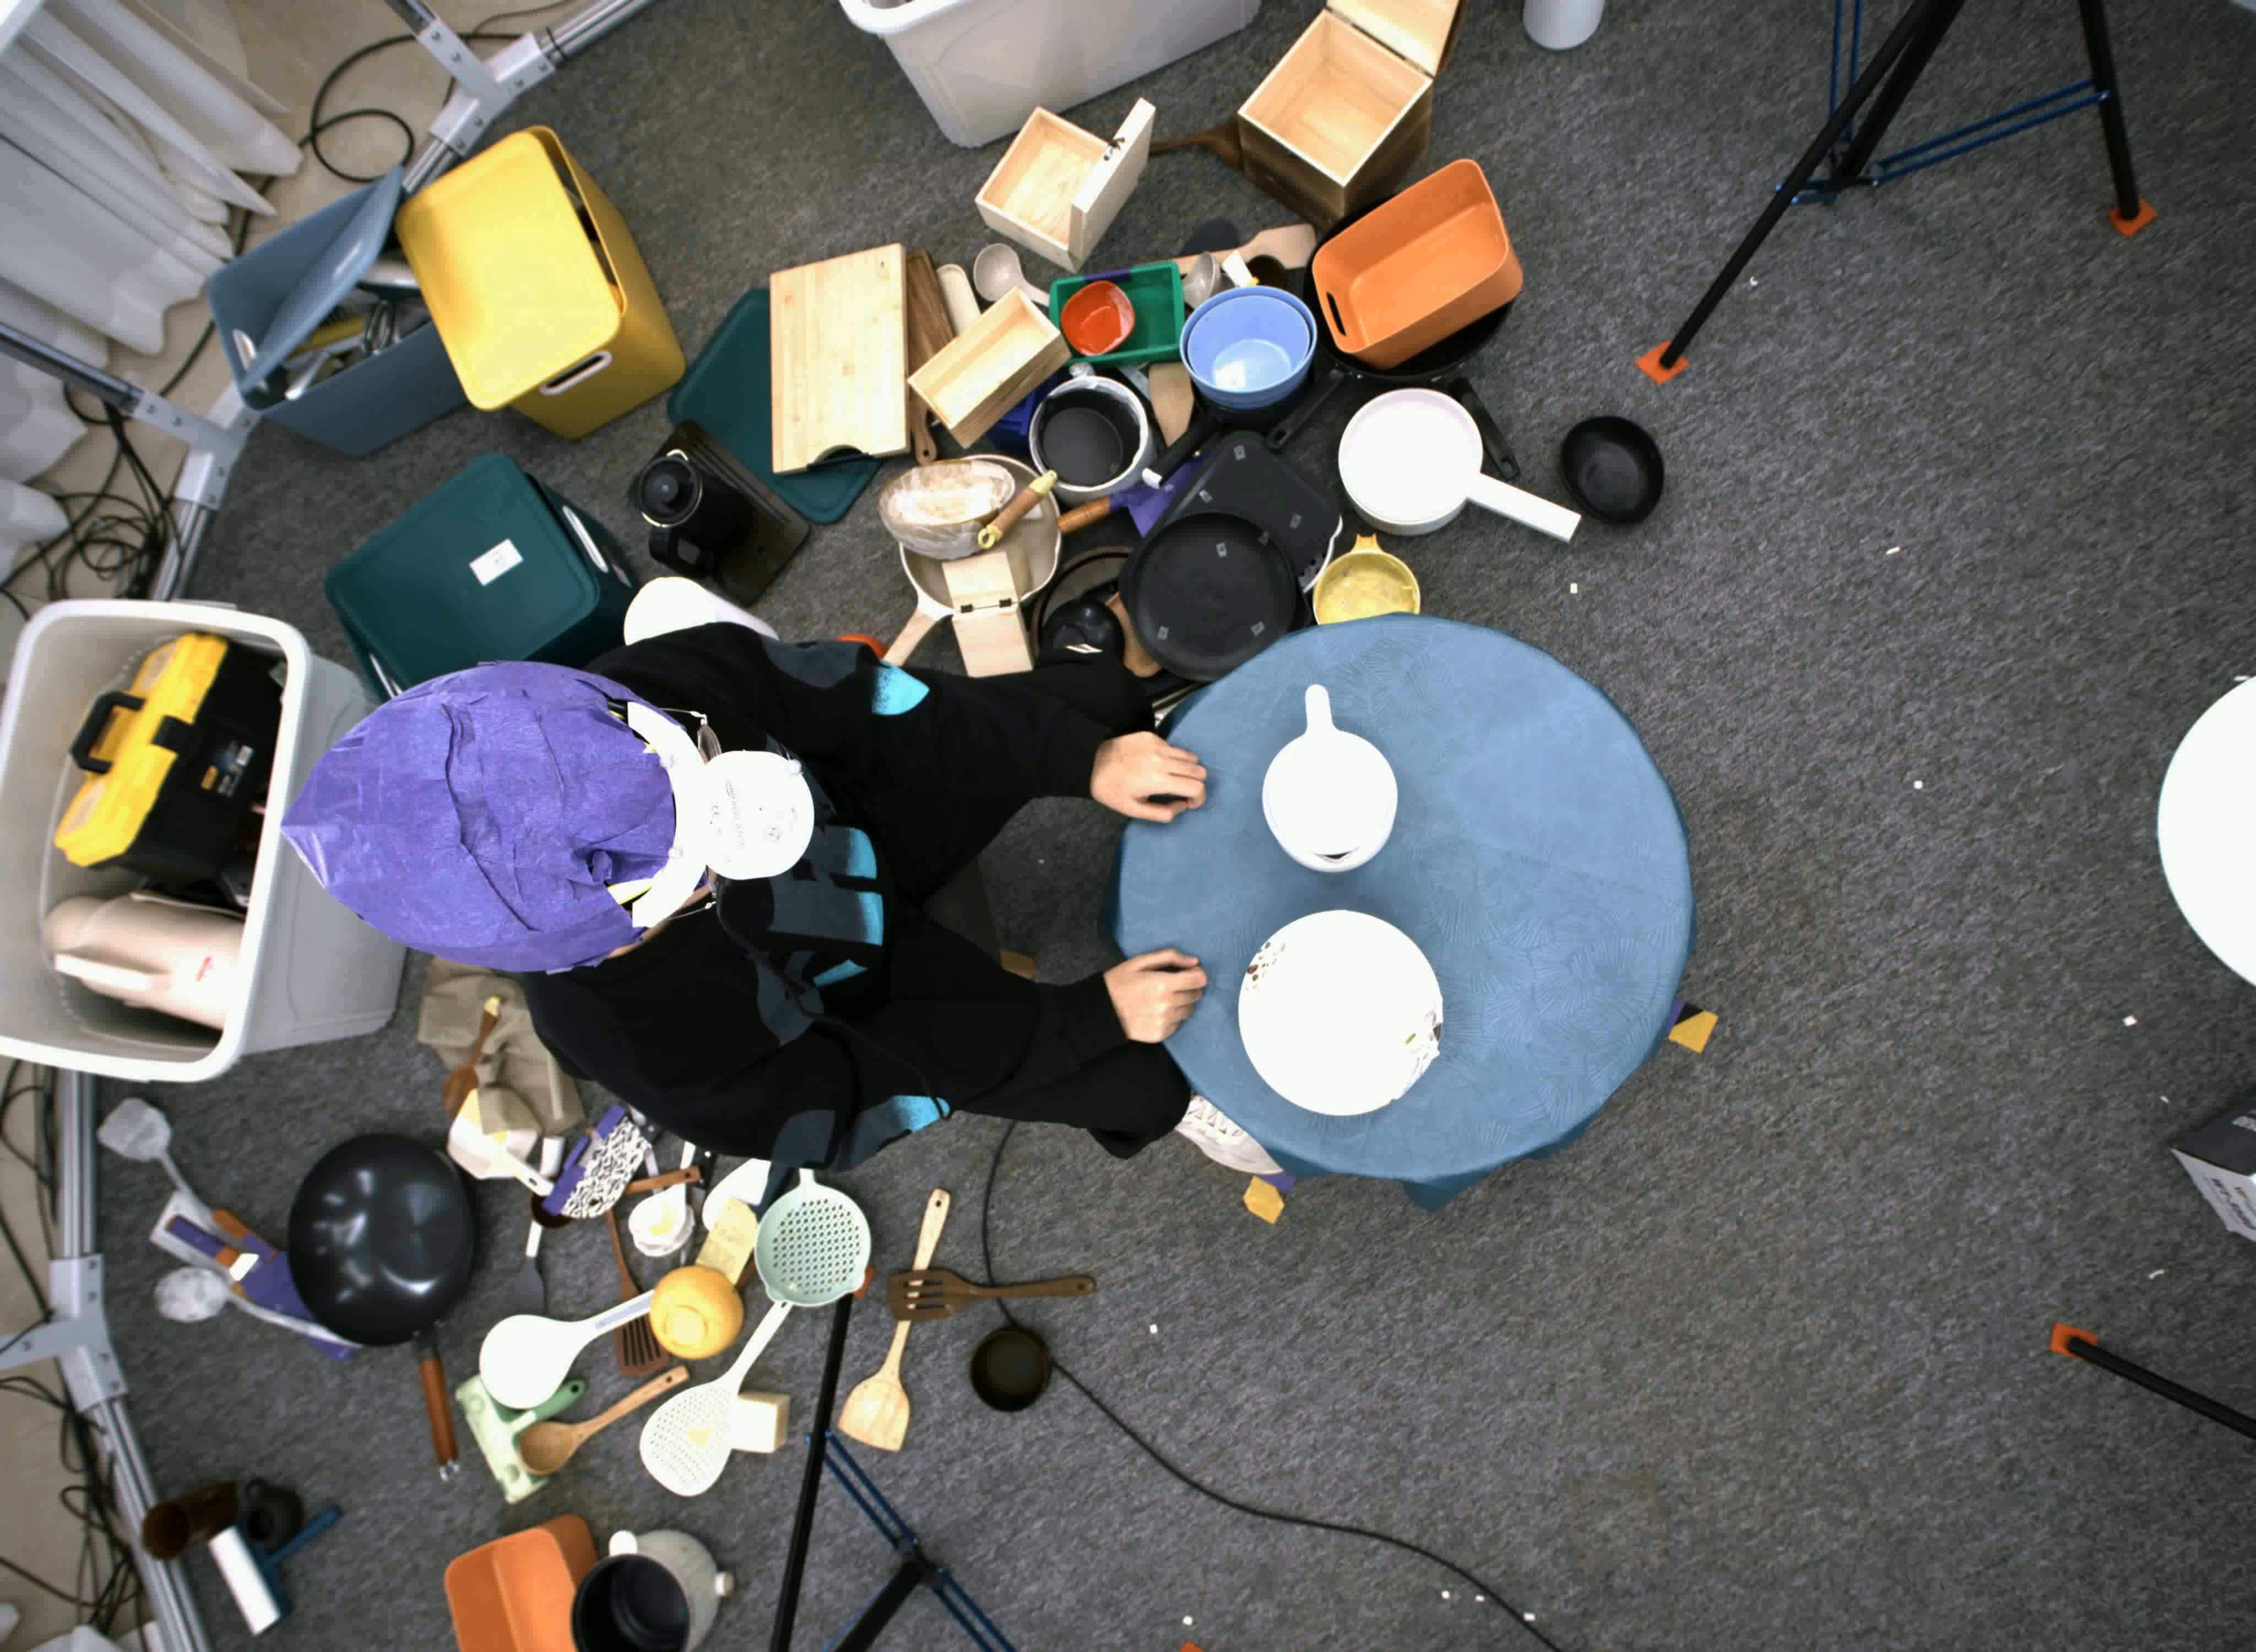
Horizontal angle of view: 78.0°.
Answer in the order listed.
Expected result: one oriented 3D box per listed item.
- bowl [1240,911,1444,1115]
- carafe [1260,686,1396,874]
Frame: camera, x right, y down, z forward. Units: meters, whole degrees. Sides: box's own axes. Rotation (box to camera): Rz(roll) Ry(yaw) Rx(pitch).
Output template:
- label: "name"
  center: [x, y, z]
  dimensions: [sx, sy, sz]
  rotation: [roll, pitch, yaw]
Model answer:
- label: "bowl"
  center: [0.221, 0.190, 1.421]
  dimensions: [0.205, 0.078, 0.203]
  rotation: [-1, 86, 13]
- label: "carafe"
  center: [0.198, -0.048, 1.388]
  dimensions: [0.133, 0.183, 0.189]
  rotation: [-9, 82, 8]
